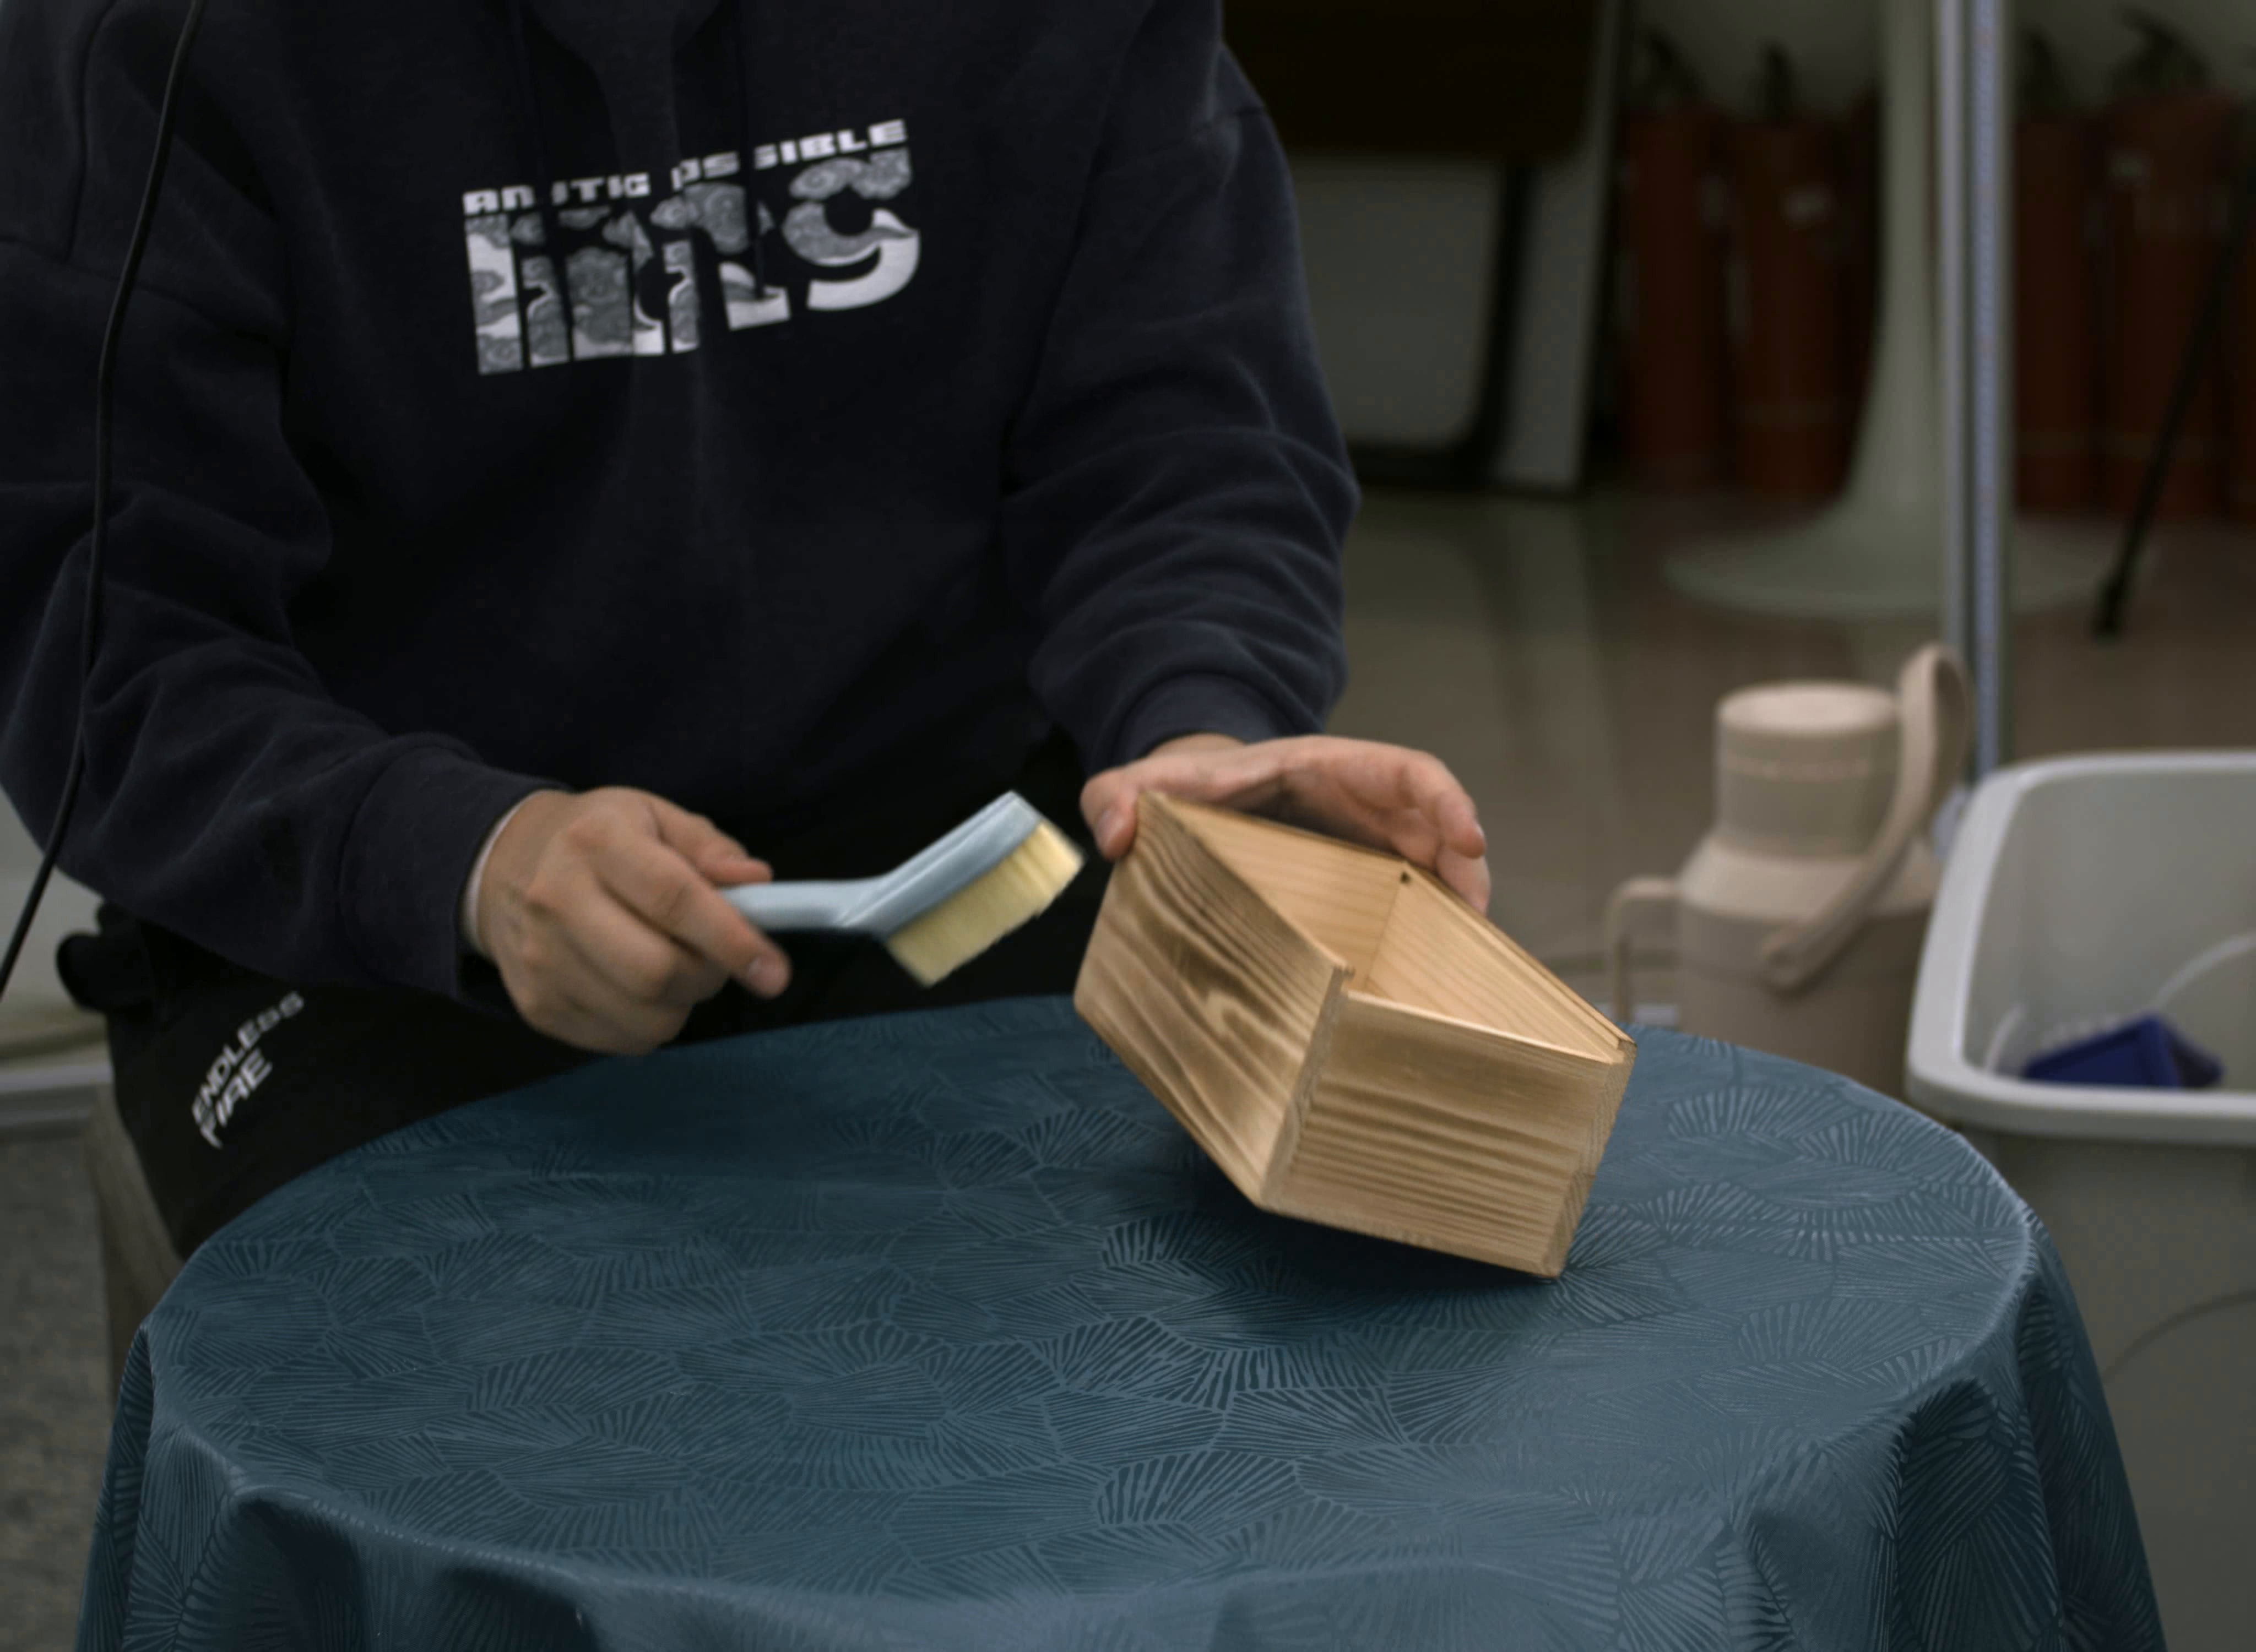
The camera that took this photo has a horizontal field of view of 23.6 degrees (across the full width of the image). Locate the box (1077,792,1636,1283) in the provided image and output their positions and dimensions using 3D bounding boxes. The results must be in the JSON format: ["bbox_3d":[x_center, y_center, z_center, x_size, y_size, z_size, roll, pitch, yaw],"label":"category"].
[{"bbox_3d":[0.069,0.065,1.729,0.105,0.081,0.213,13,11,-19],"label":"box"}]

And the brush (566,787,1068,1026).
[{"bbox_3d":[-0.106,0.038,1.774,0.230,0.049,0.037,-19,24,41],"label":"brush"}]
